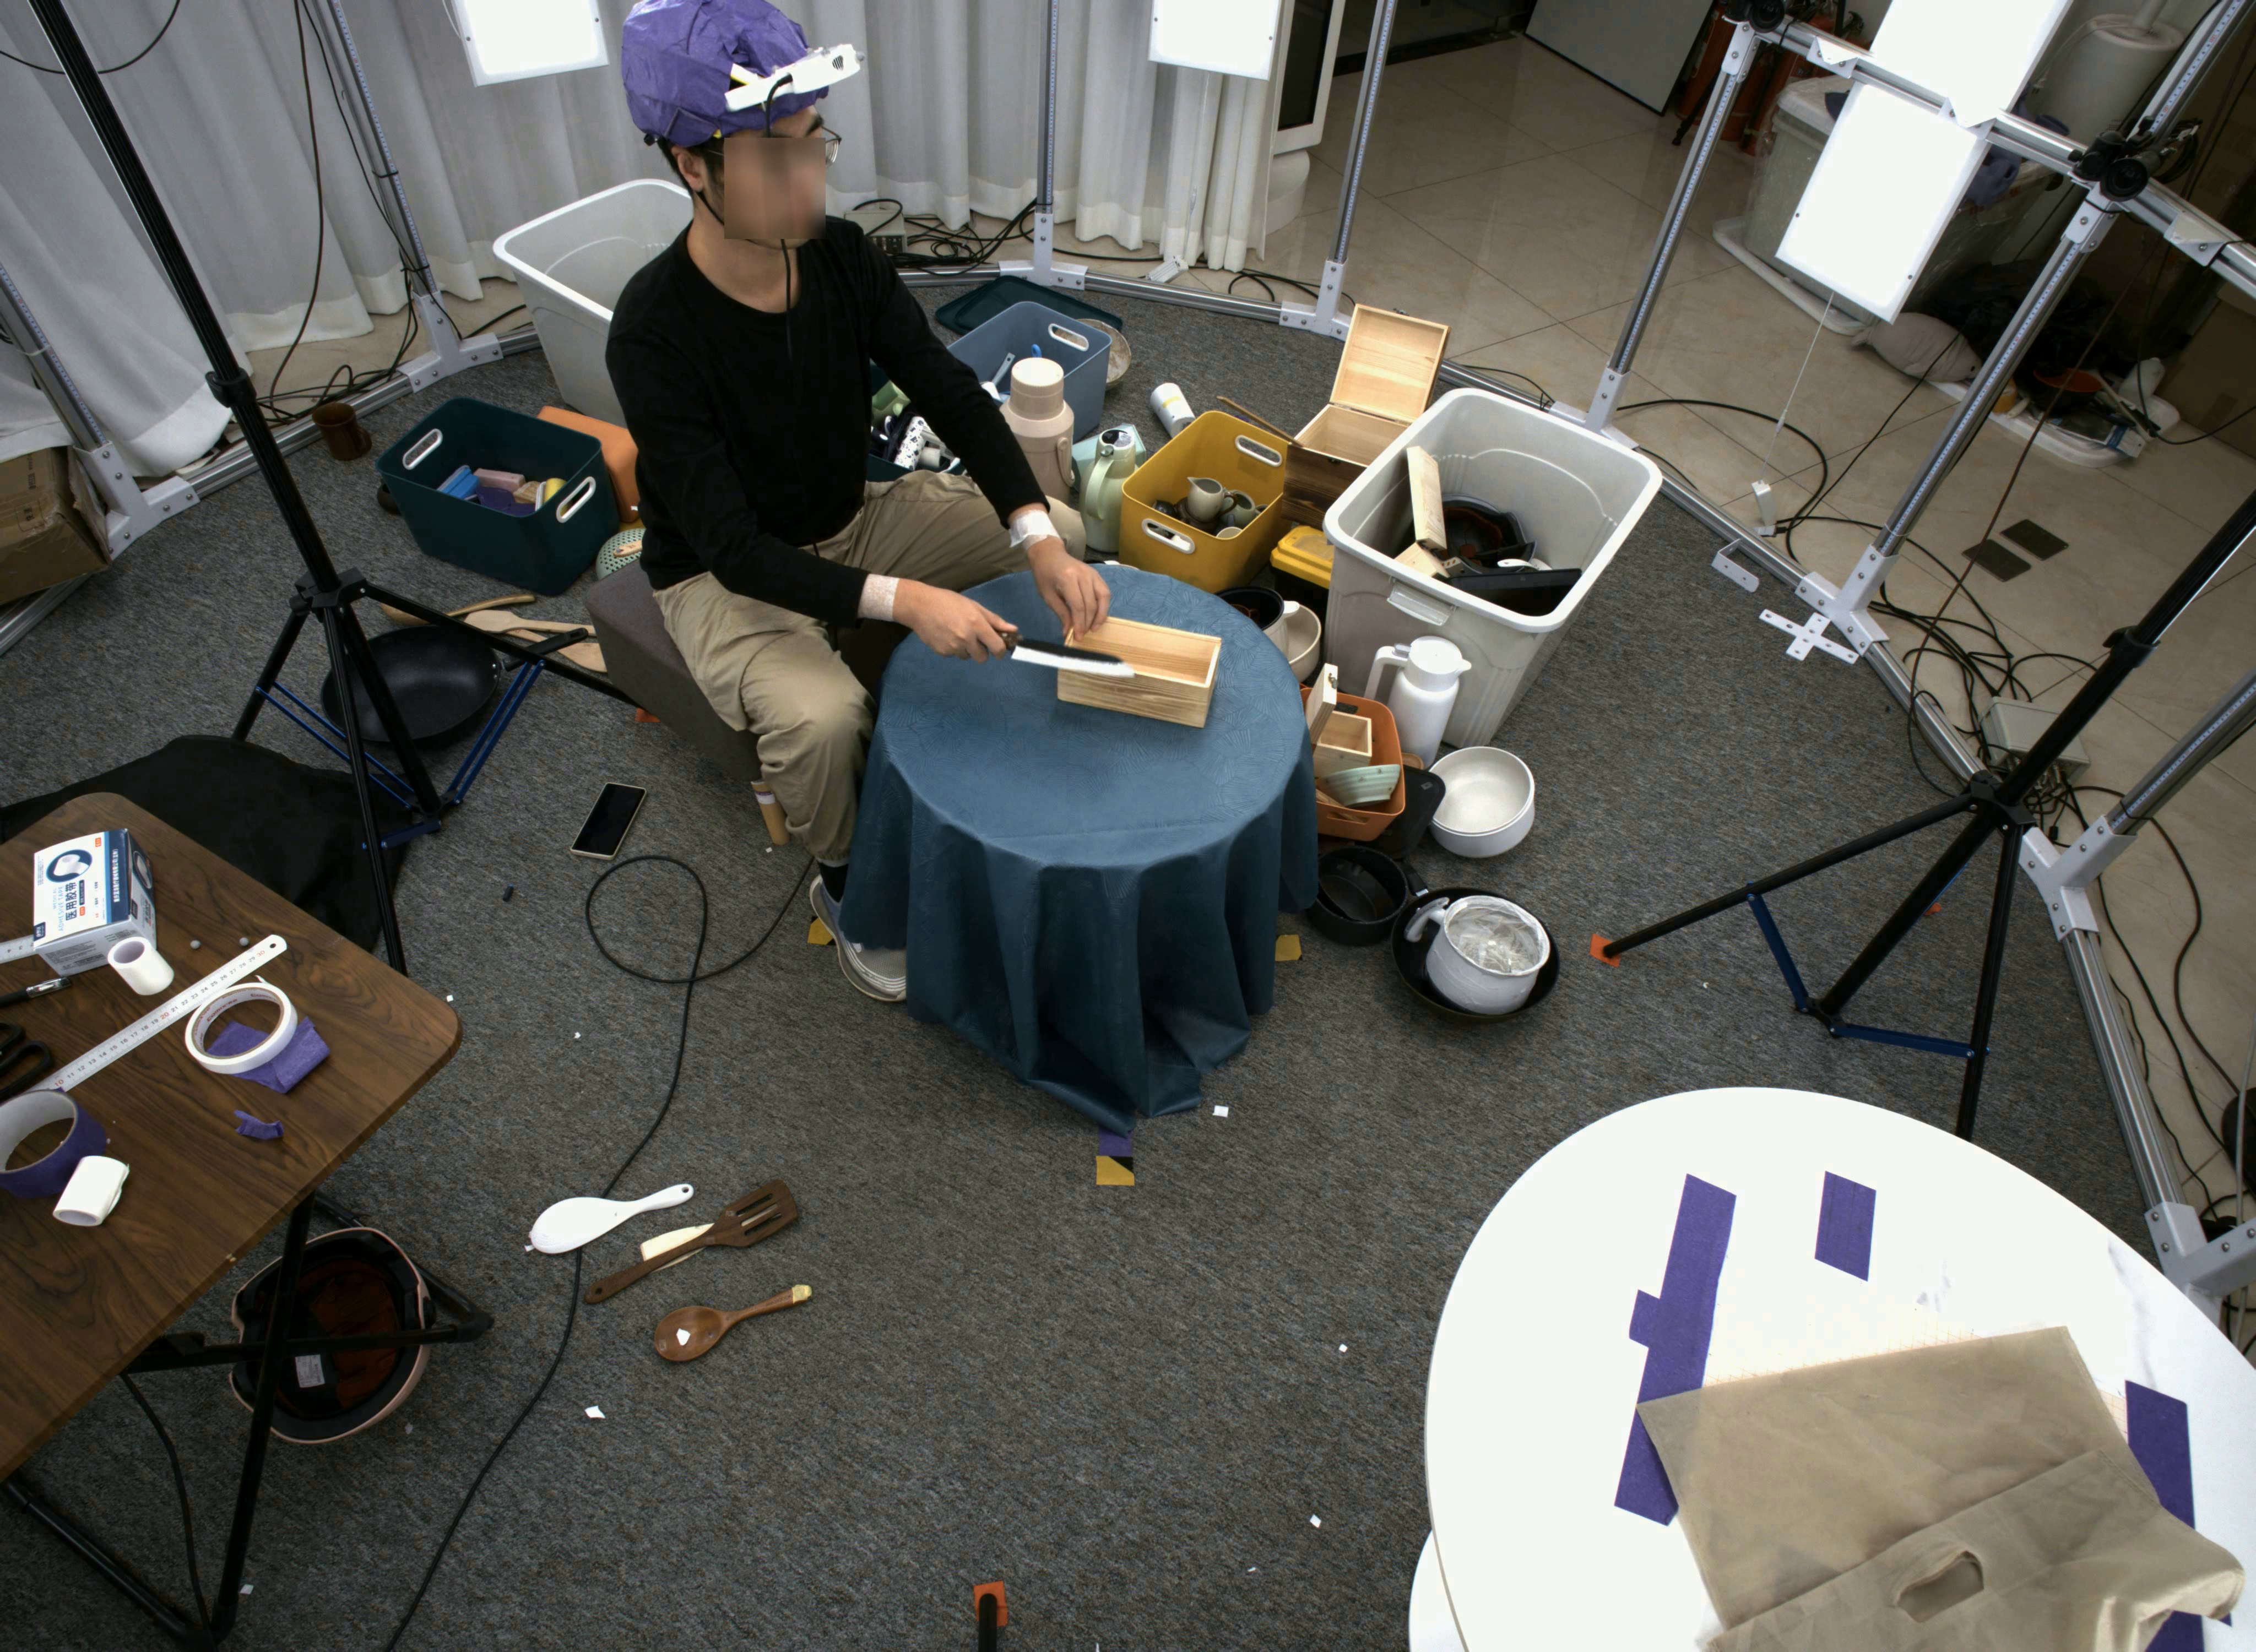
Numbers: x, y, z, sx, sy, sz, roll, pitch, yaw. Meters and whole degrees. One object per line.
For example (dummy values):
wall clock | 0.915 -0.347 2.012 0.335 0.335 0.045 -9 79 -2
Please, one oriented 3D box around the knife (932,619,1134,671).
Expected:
knife | -0.130 -0.241 1.727 0.290 0.019 0.051 13 49 10

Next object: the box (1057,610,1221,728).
box | 0.015 -0.223 1.813 0.212 0.078 0.110 12 49 5
